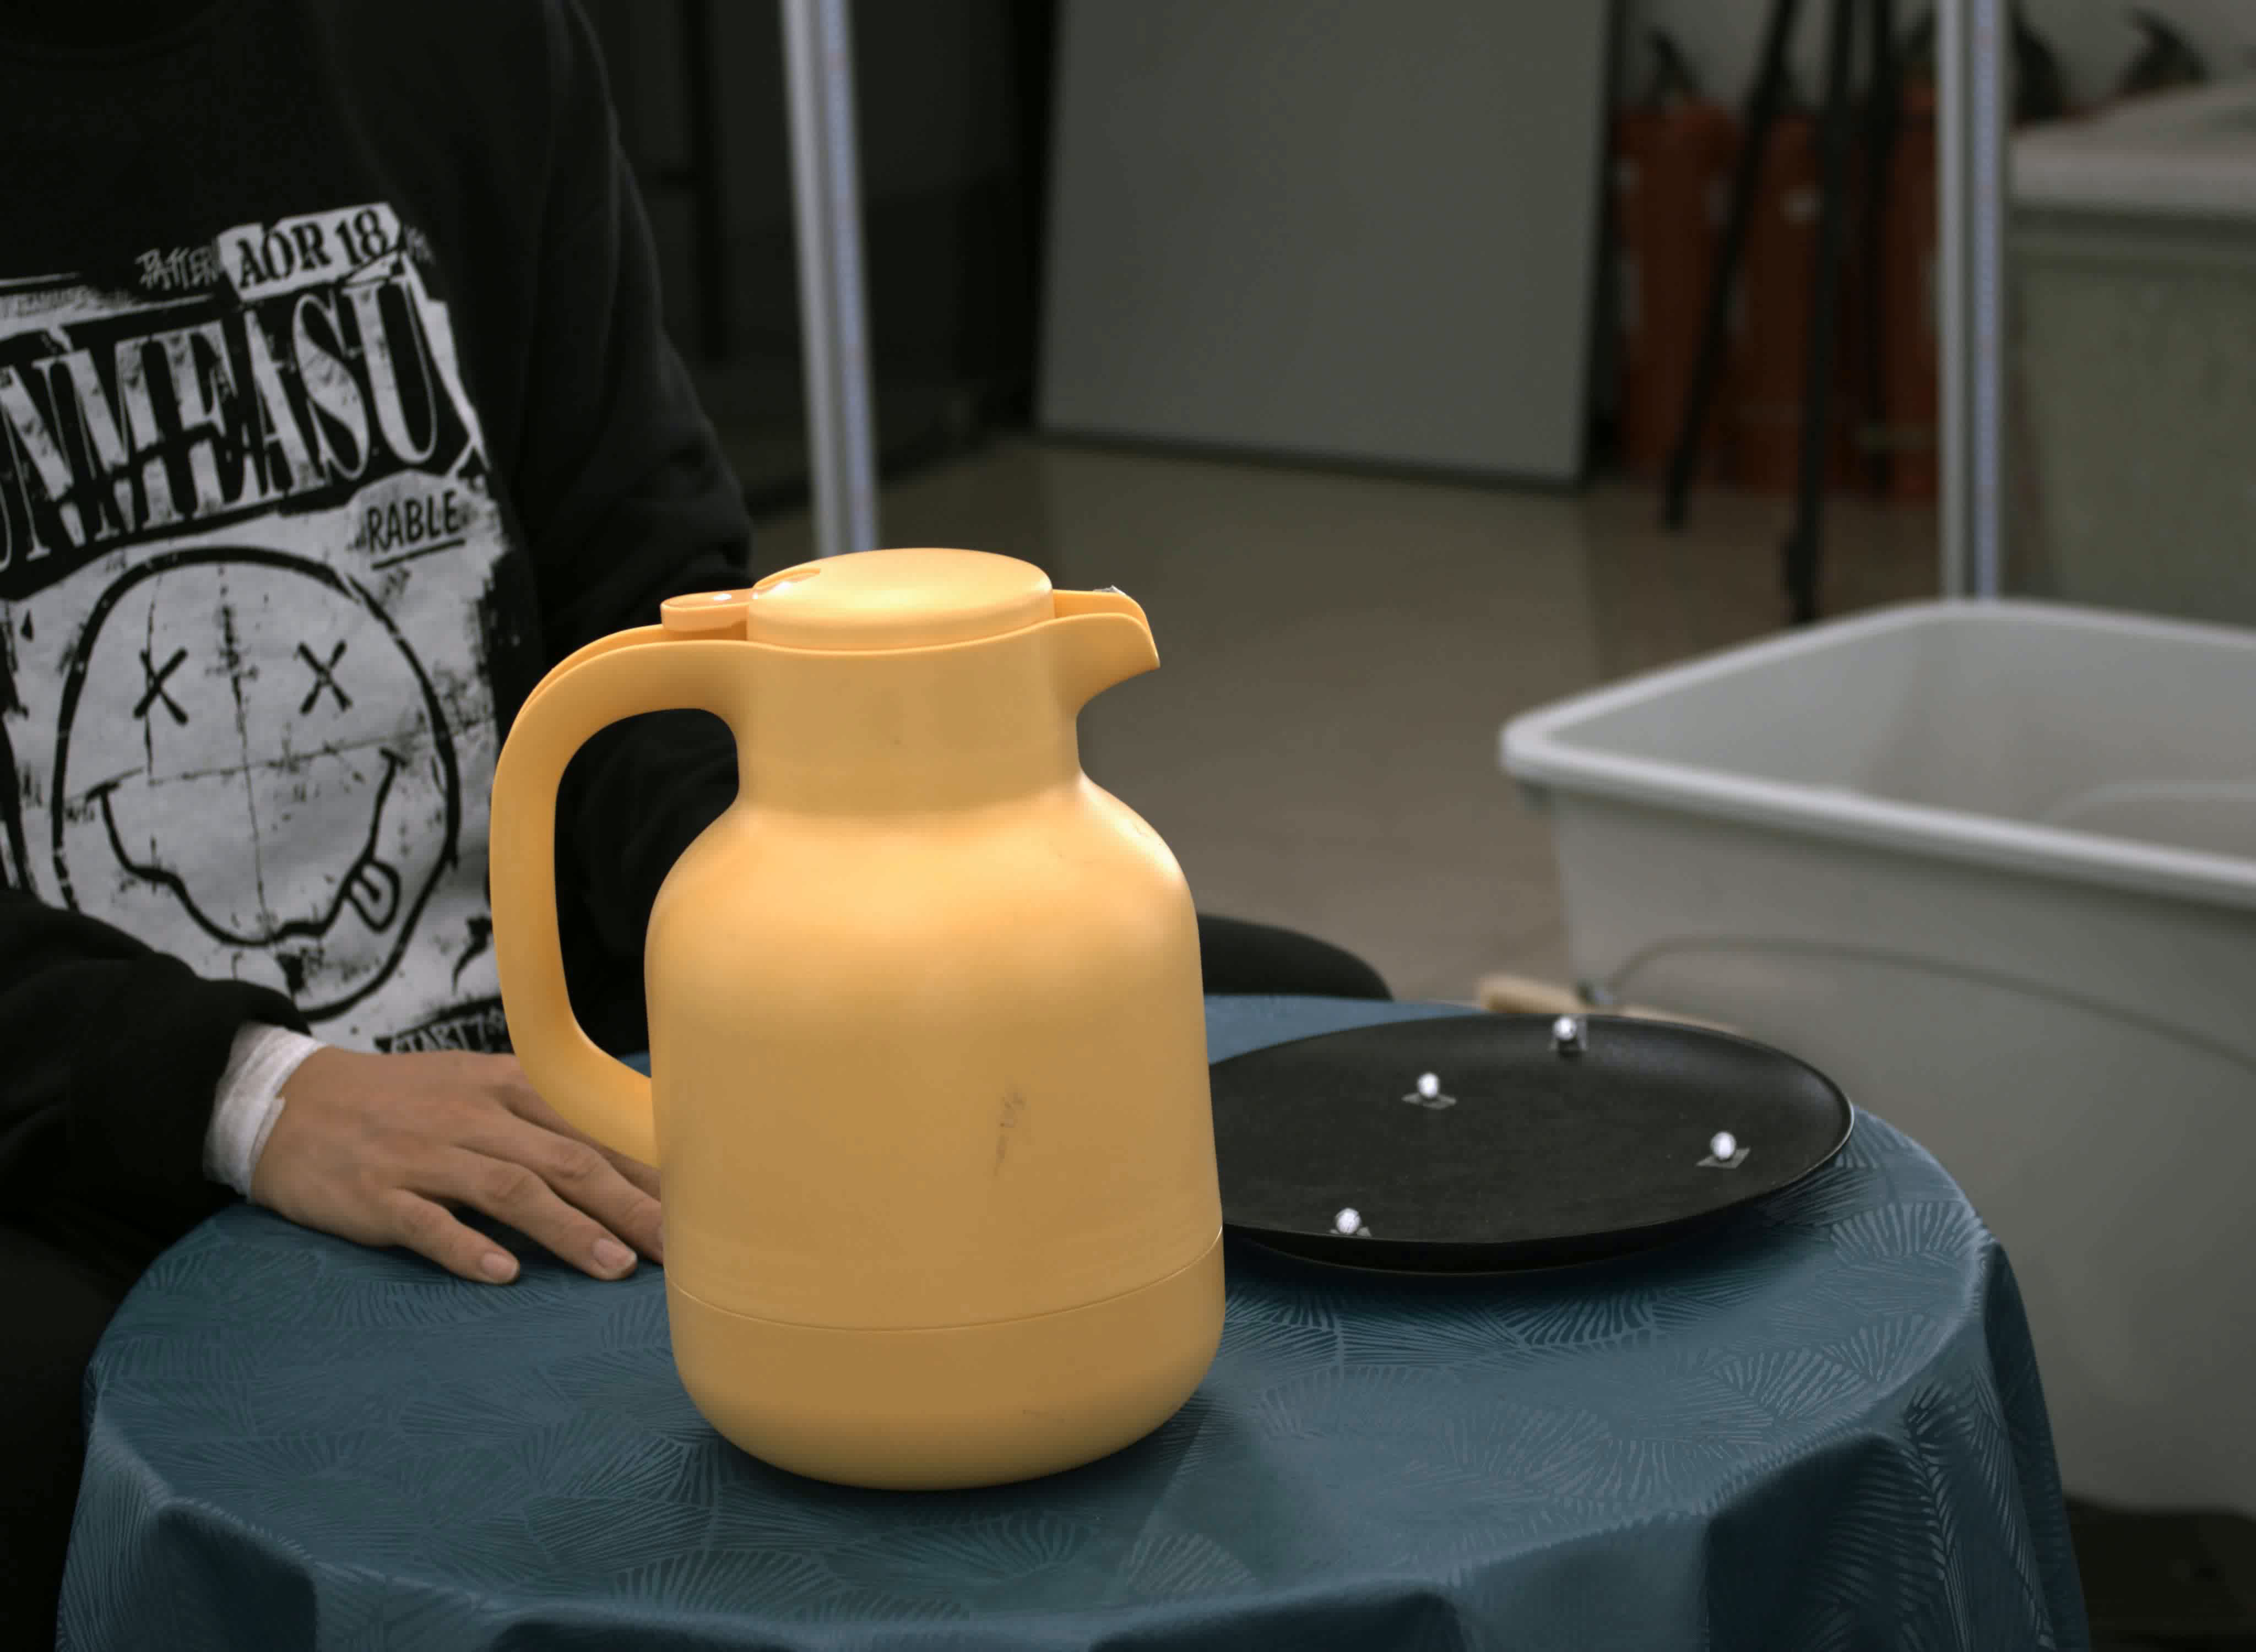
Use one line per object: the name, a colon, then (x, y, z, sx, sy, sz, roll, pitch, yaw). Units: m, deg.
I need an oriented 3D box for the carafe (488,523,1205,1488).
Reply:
carafe: (-0.079, 0.047, 1.544, 0.200, 0.263, 0.163, -1, 11, 3)

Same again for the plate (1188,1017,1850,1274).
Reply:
plate: (0.114, 0.106, 1.751, 0.241, 0.024, 0.245, -4, 14, 0)
